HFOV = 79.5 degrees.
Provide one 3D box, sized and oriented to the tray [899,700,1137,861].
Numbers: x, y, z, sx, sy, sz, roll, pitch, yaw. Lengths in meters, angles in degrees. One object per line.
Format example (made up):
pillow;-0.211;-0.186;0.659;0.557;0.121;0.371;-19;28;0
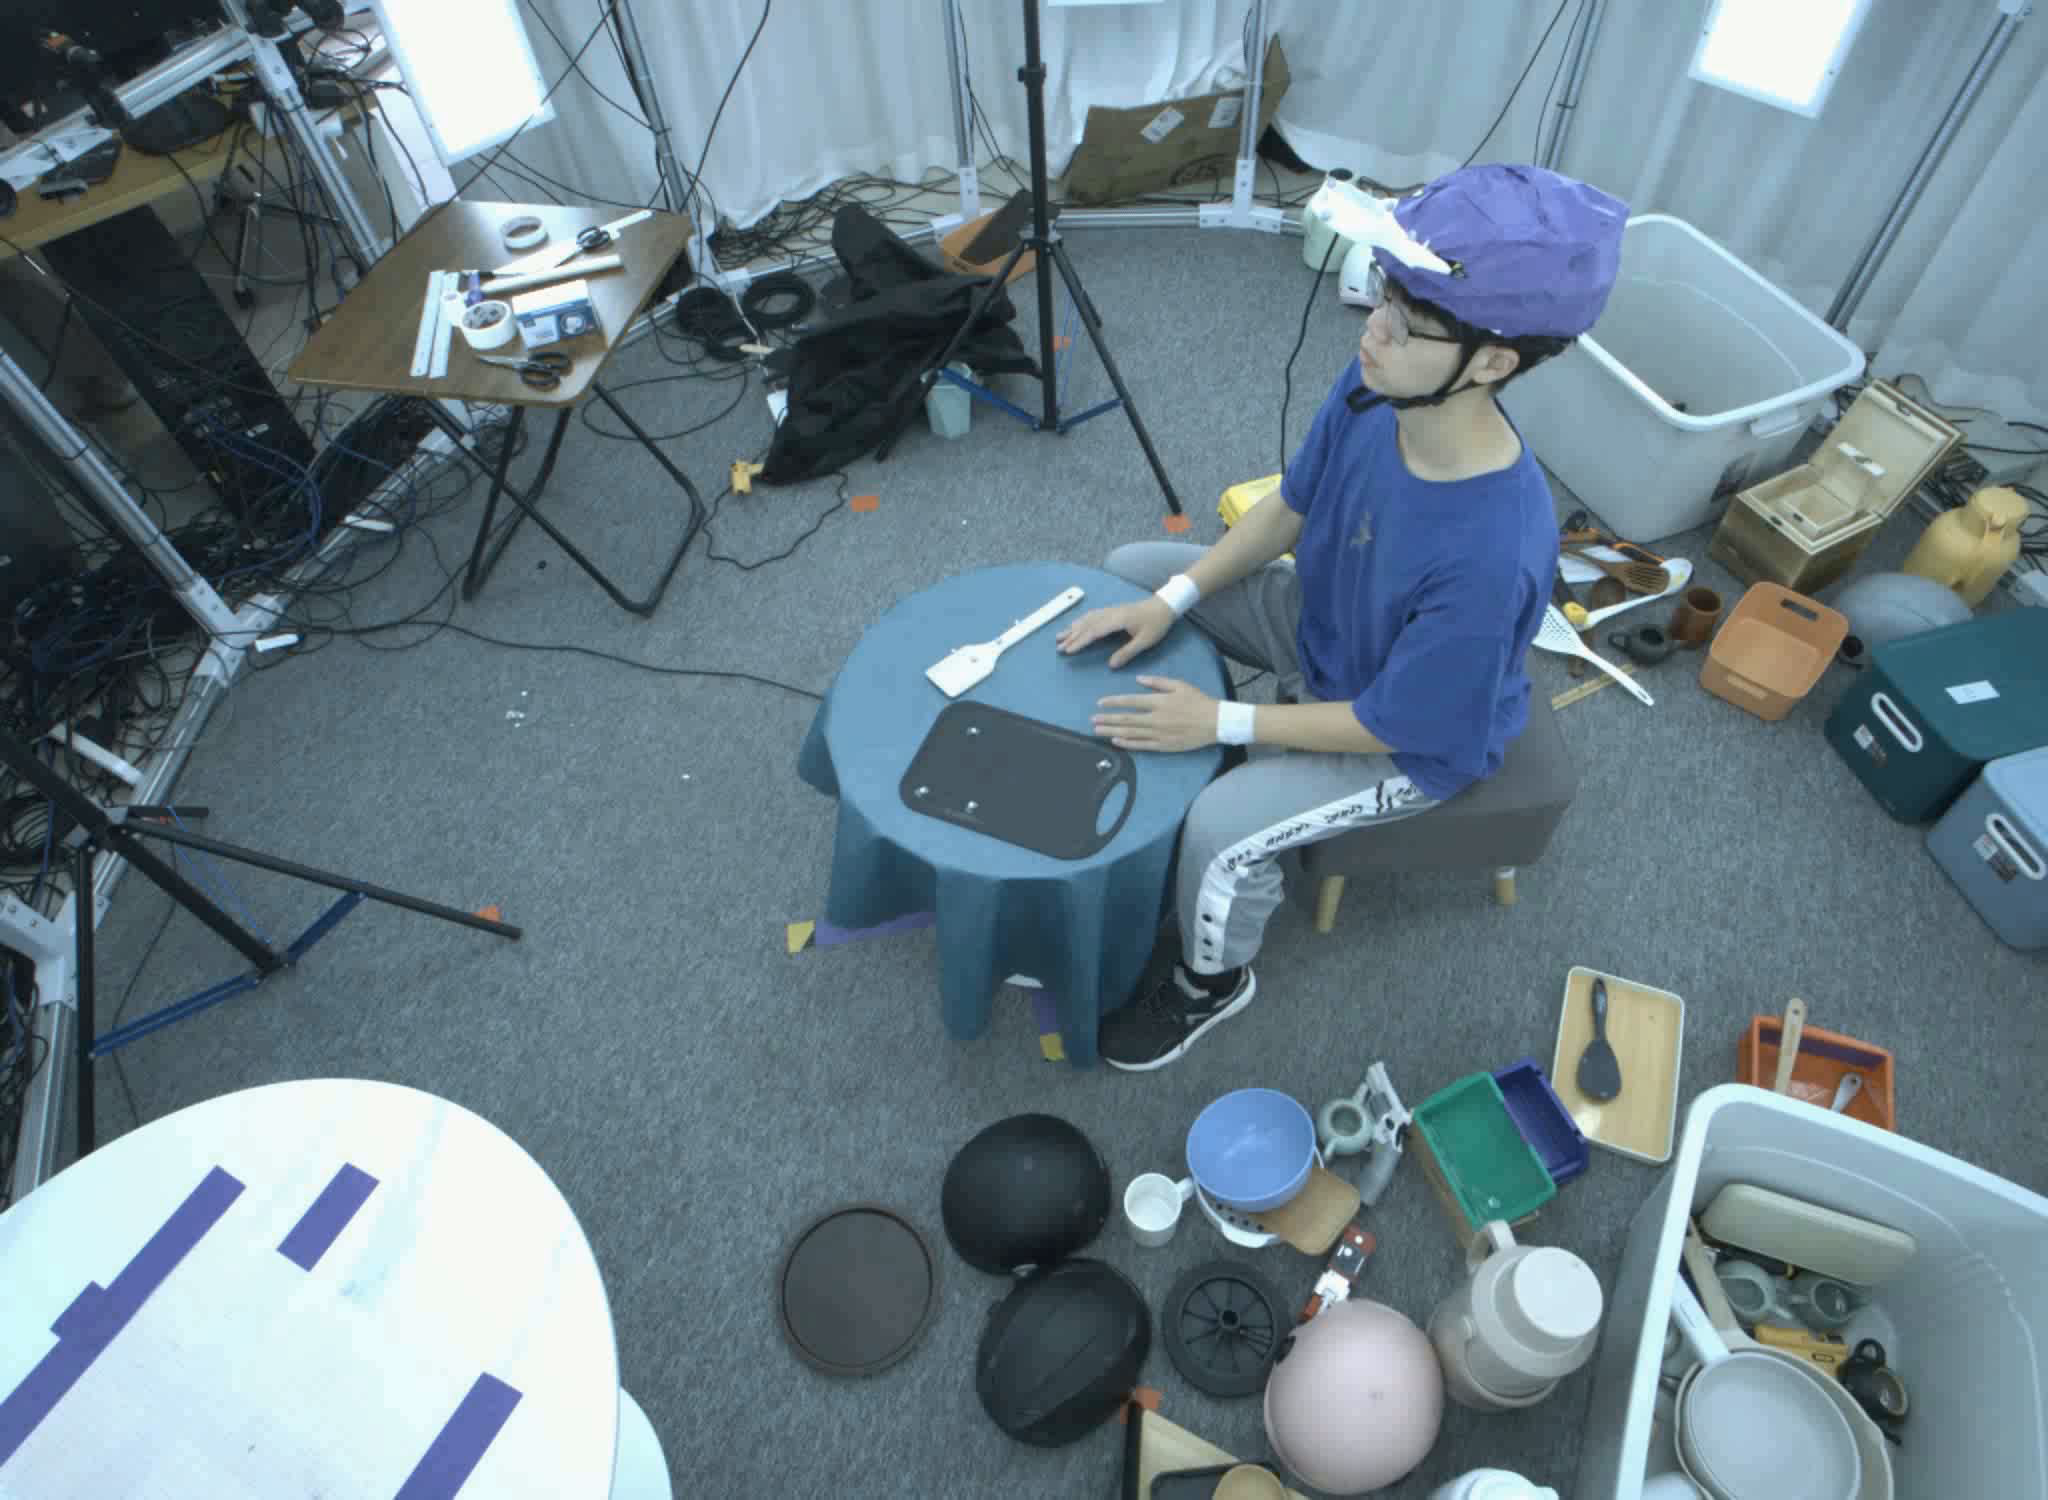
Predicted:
tray;-0.002;0.040;1.745;0.322;0.010;0.211;18;57;14

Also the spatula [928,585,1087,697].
spatula;-0.017;-0.177;1.900;0.295;0.011;0.071;-36;59;-21
